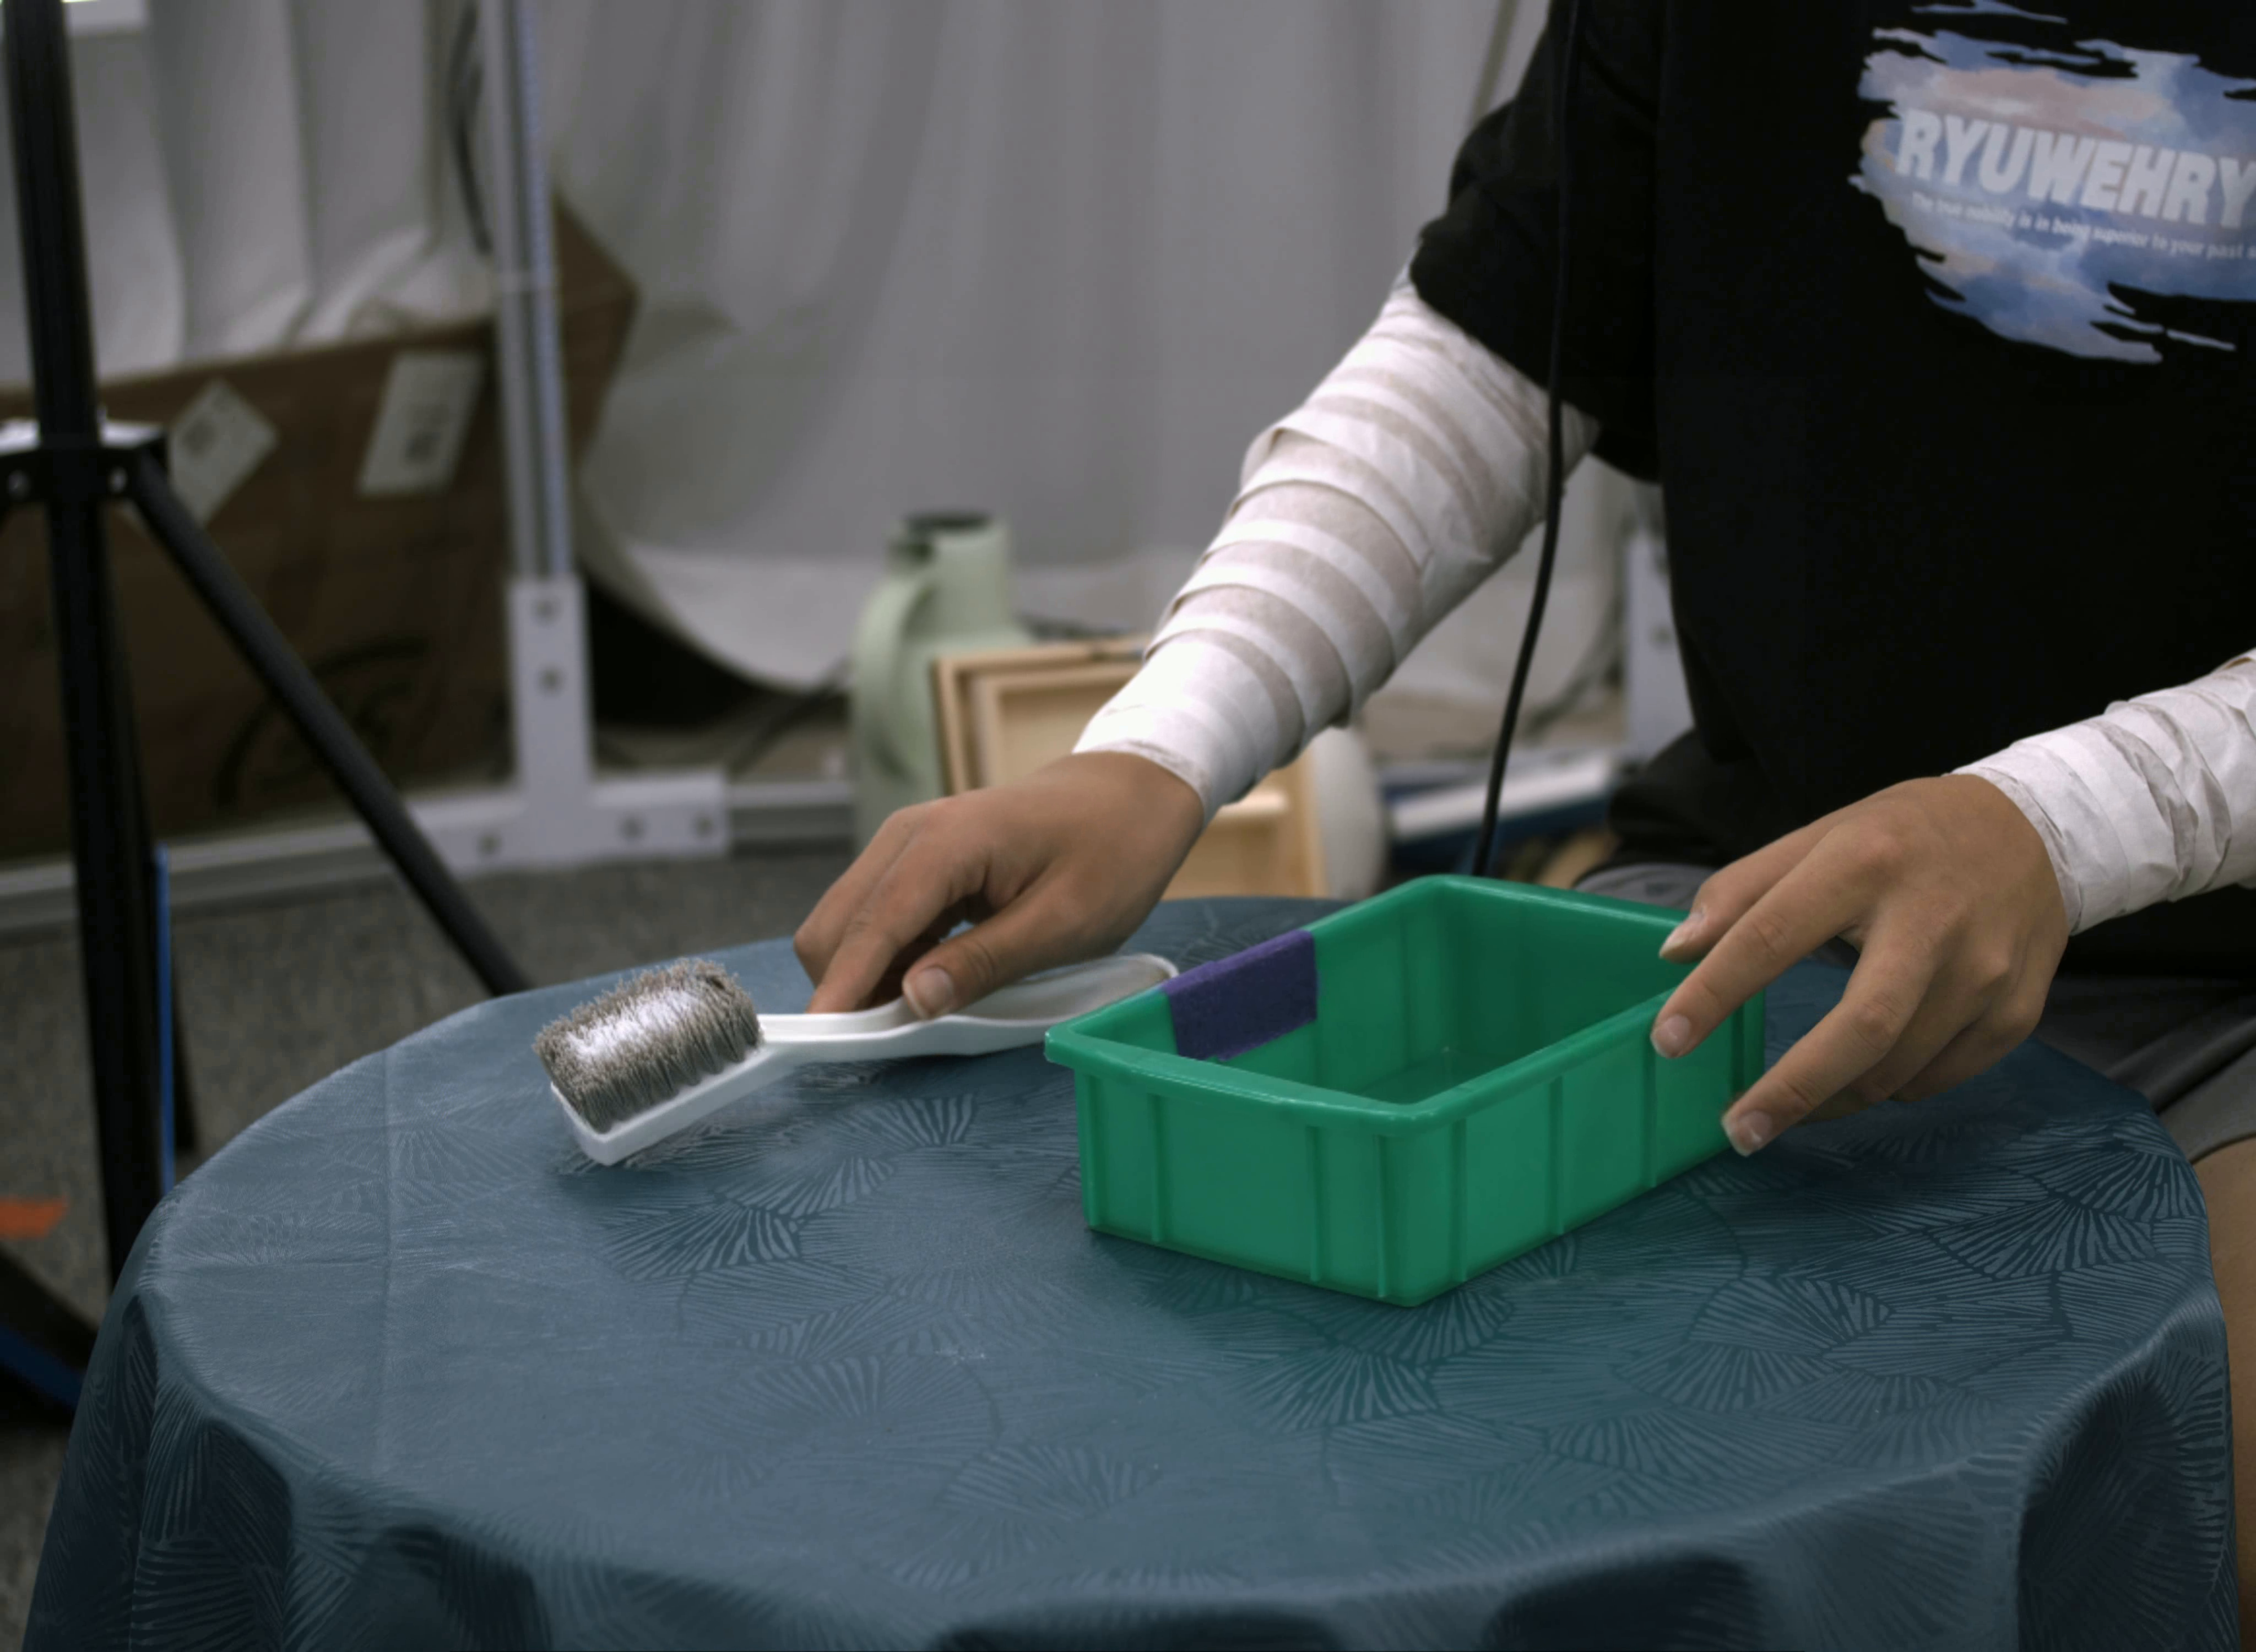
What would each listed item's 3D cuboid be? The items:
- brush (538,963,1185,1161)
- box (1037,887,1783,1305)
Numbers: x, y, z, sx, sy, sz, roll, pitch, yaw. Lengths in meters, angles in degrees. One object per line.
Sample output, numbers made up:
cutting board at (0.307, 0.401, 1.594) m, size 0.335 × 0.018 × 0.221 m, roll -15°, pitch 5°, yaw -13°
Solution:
brush at (-0.075, 0.057, 1.659) m, size 0.238 × 0.050 × 0.035 m, roll -11°, pitch 42°, yaw -33°
box at (0.085, 0.077, 1.545) m, size 0.141 × 0.065 × 0.206 m, roll 8°, pitch 18°, yaw 38°
